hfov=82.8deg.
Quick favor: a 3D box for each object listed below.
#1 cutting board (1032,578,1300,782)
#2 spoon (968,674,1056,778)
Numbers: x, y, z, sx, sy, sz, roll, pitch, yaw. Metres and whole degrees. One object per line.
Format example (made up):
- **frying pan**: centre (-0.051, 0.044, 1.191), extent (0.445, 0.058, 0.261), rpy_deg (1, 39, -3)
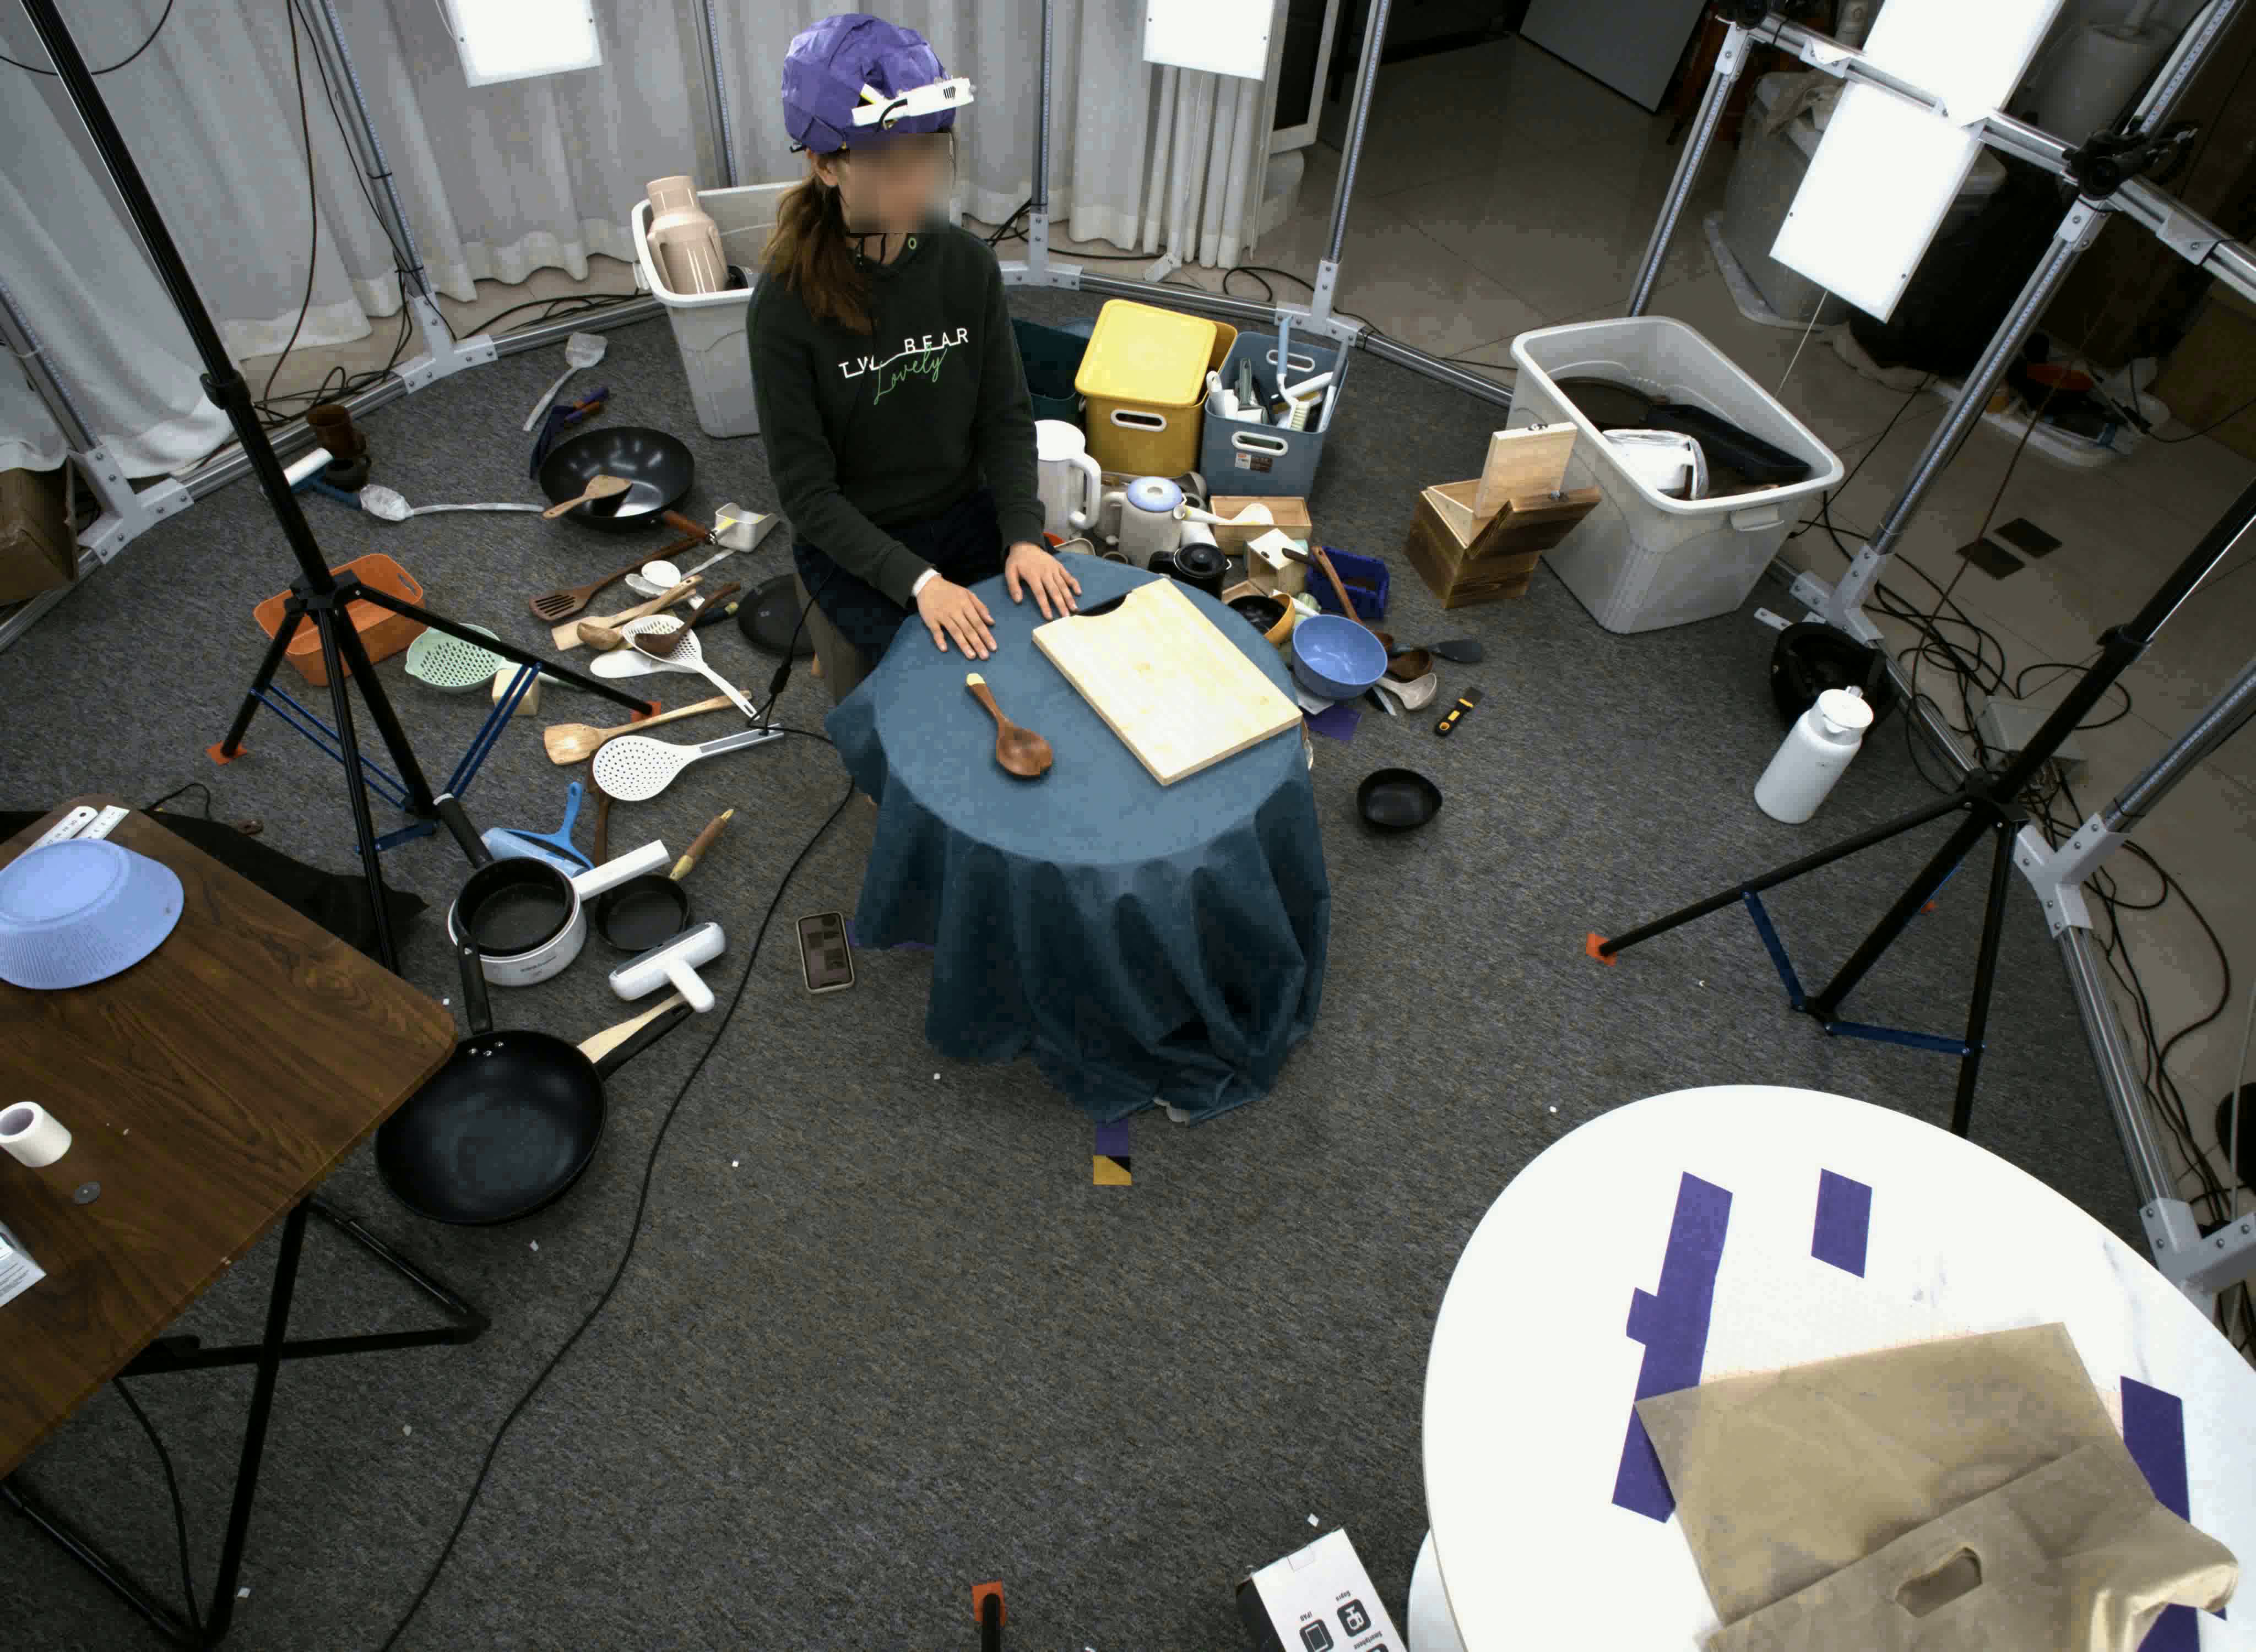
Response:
- **cutting board**: centre (0.051, -0.221, 1.870), extent (0.252, 0.023, 0.355), rpy_deg (-25, 55, -24)
- **spoon**: centre (-0.169, -0.140, 1.783), extent (0.075, 0.017, 0.220), rpy_deg (-21, 54, -19)
